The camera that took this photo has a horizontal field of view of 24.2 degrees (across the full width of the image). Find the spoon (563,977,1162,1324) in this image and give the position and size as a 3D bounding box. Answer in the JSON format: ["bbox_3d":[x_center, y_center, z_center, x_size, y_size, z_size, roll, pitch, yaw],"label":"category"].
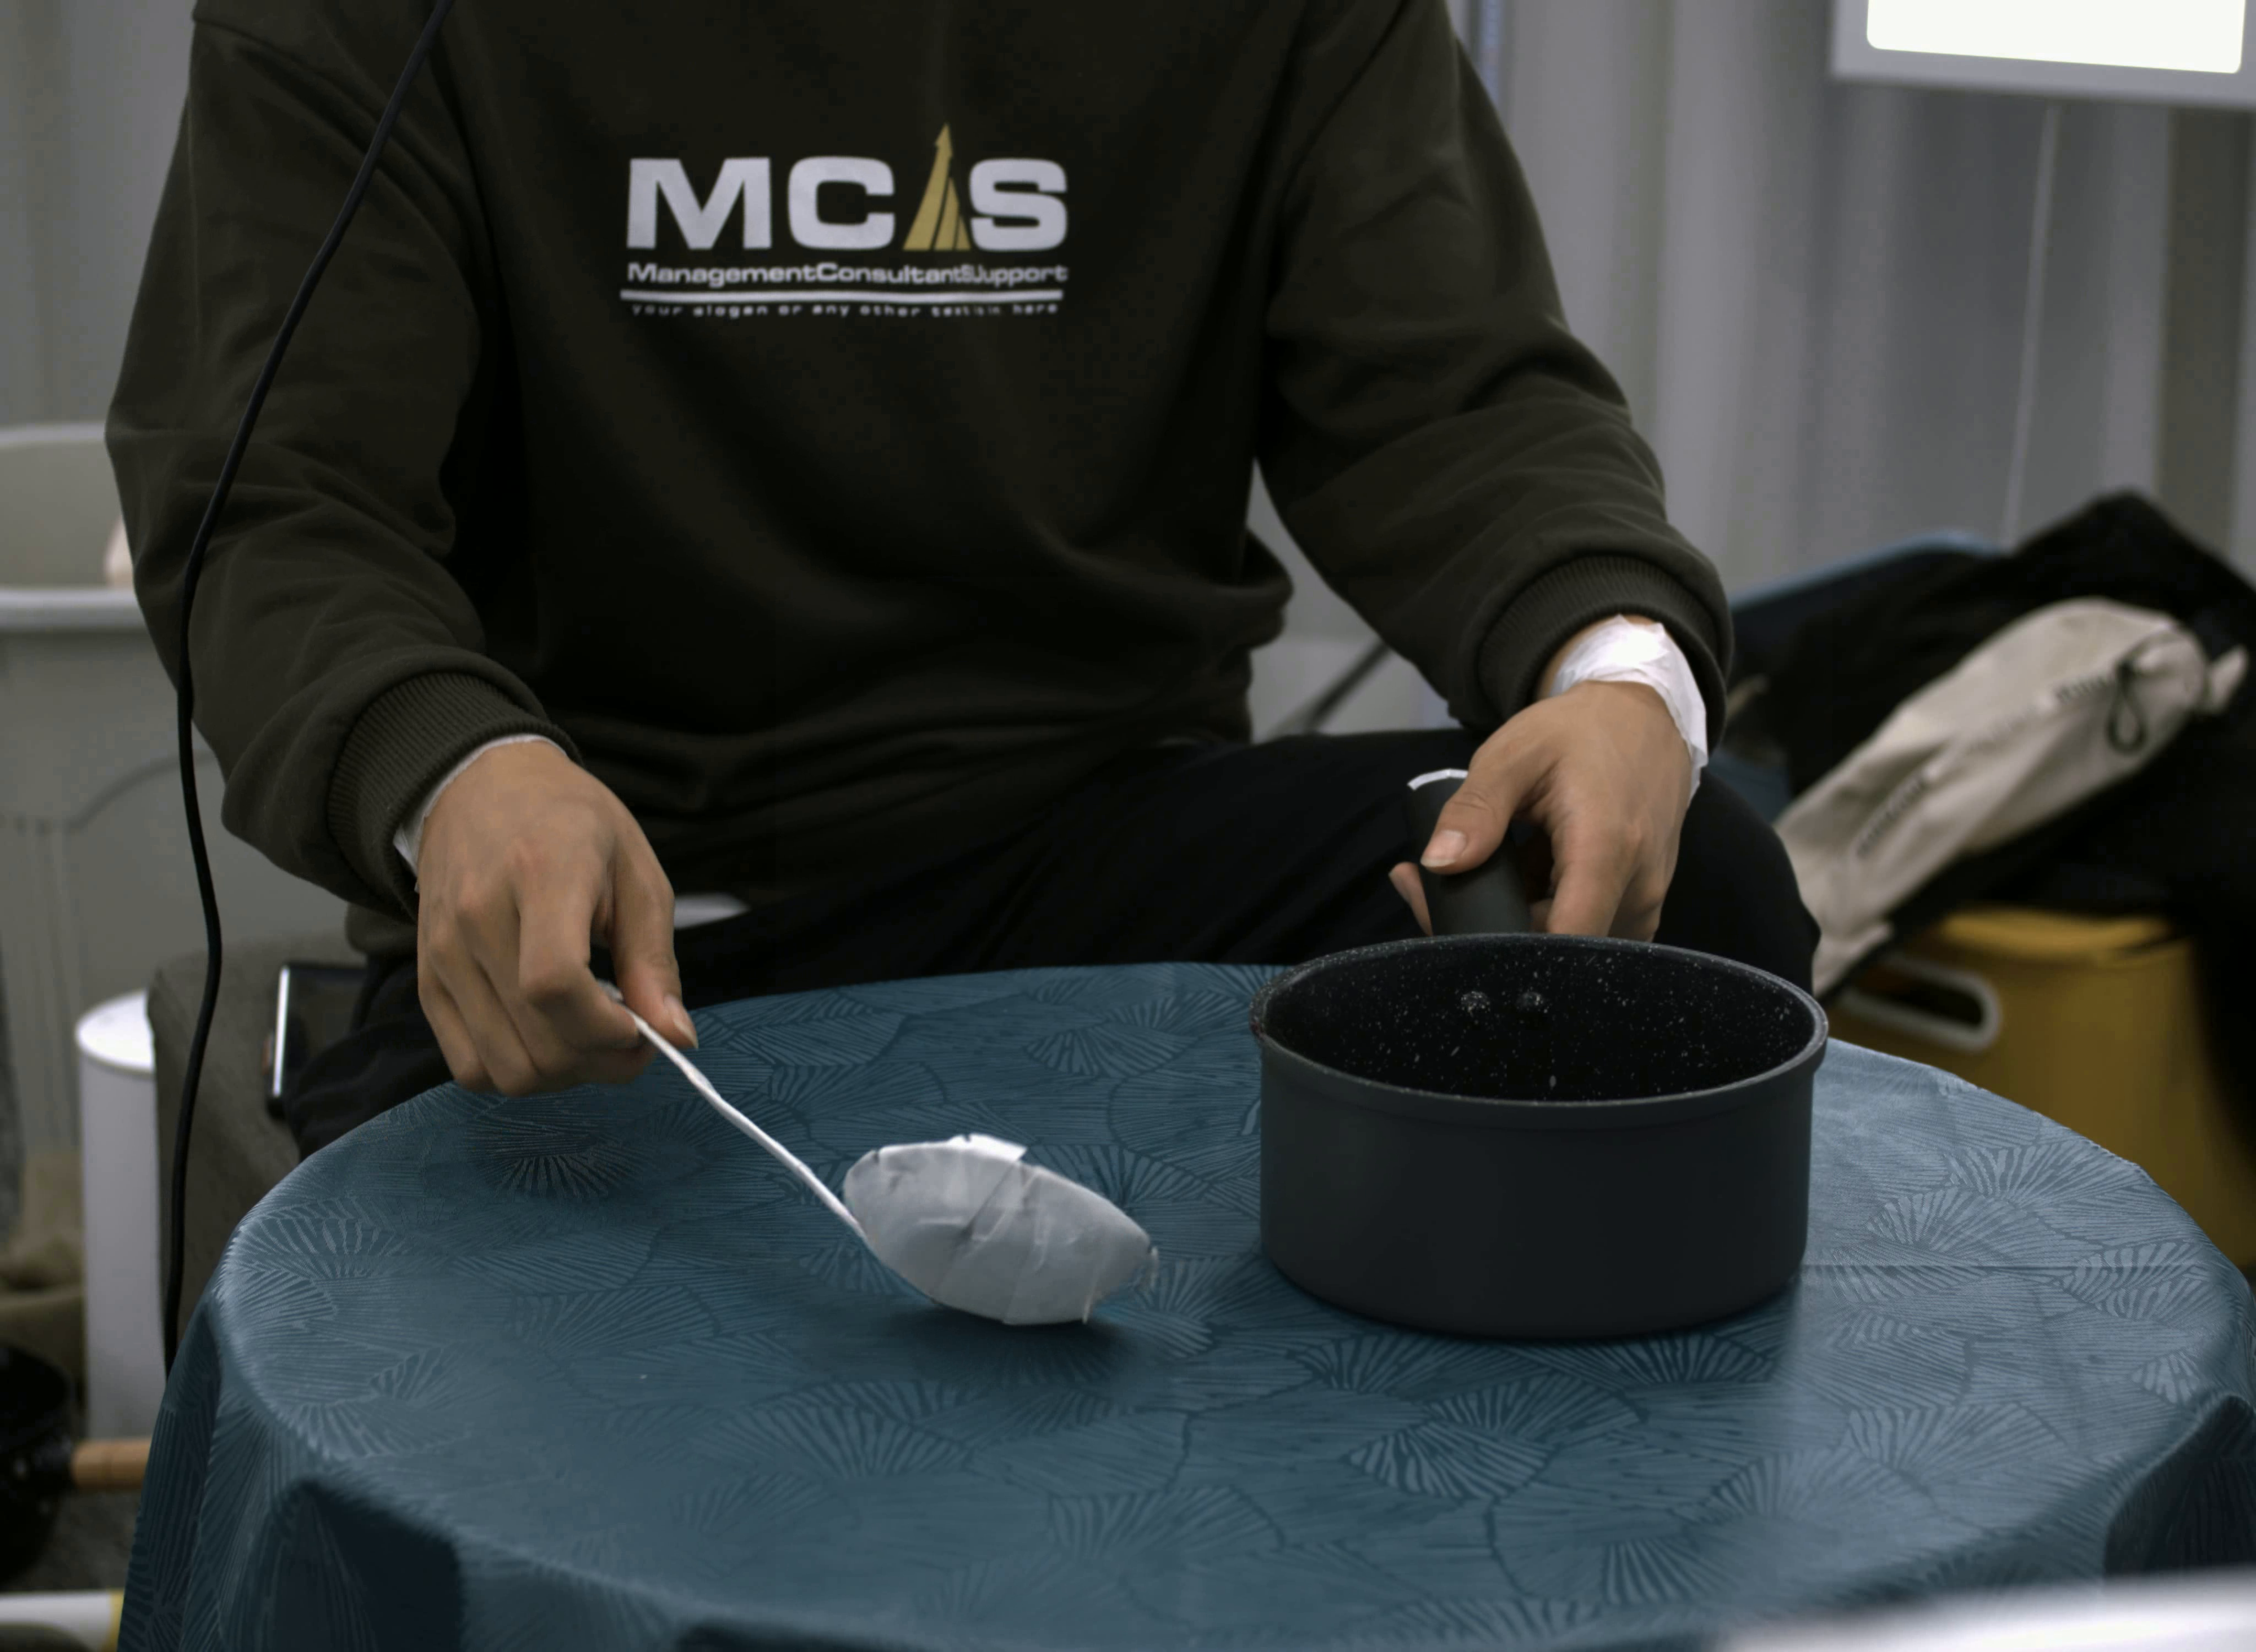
[{"bbox_3d":[-0.085,0.082,1.565,0.059,0.102,0.273,-47,38,-7],"label":"spoon"}]

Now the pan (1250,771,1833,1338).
[{"bbox_3d":[0.121,0.067,1.637,0.171,0.087,0.327,1,16,0],"label":"pan"}]
